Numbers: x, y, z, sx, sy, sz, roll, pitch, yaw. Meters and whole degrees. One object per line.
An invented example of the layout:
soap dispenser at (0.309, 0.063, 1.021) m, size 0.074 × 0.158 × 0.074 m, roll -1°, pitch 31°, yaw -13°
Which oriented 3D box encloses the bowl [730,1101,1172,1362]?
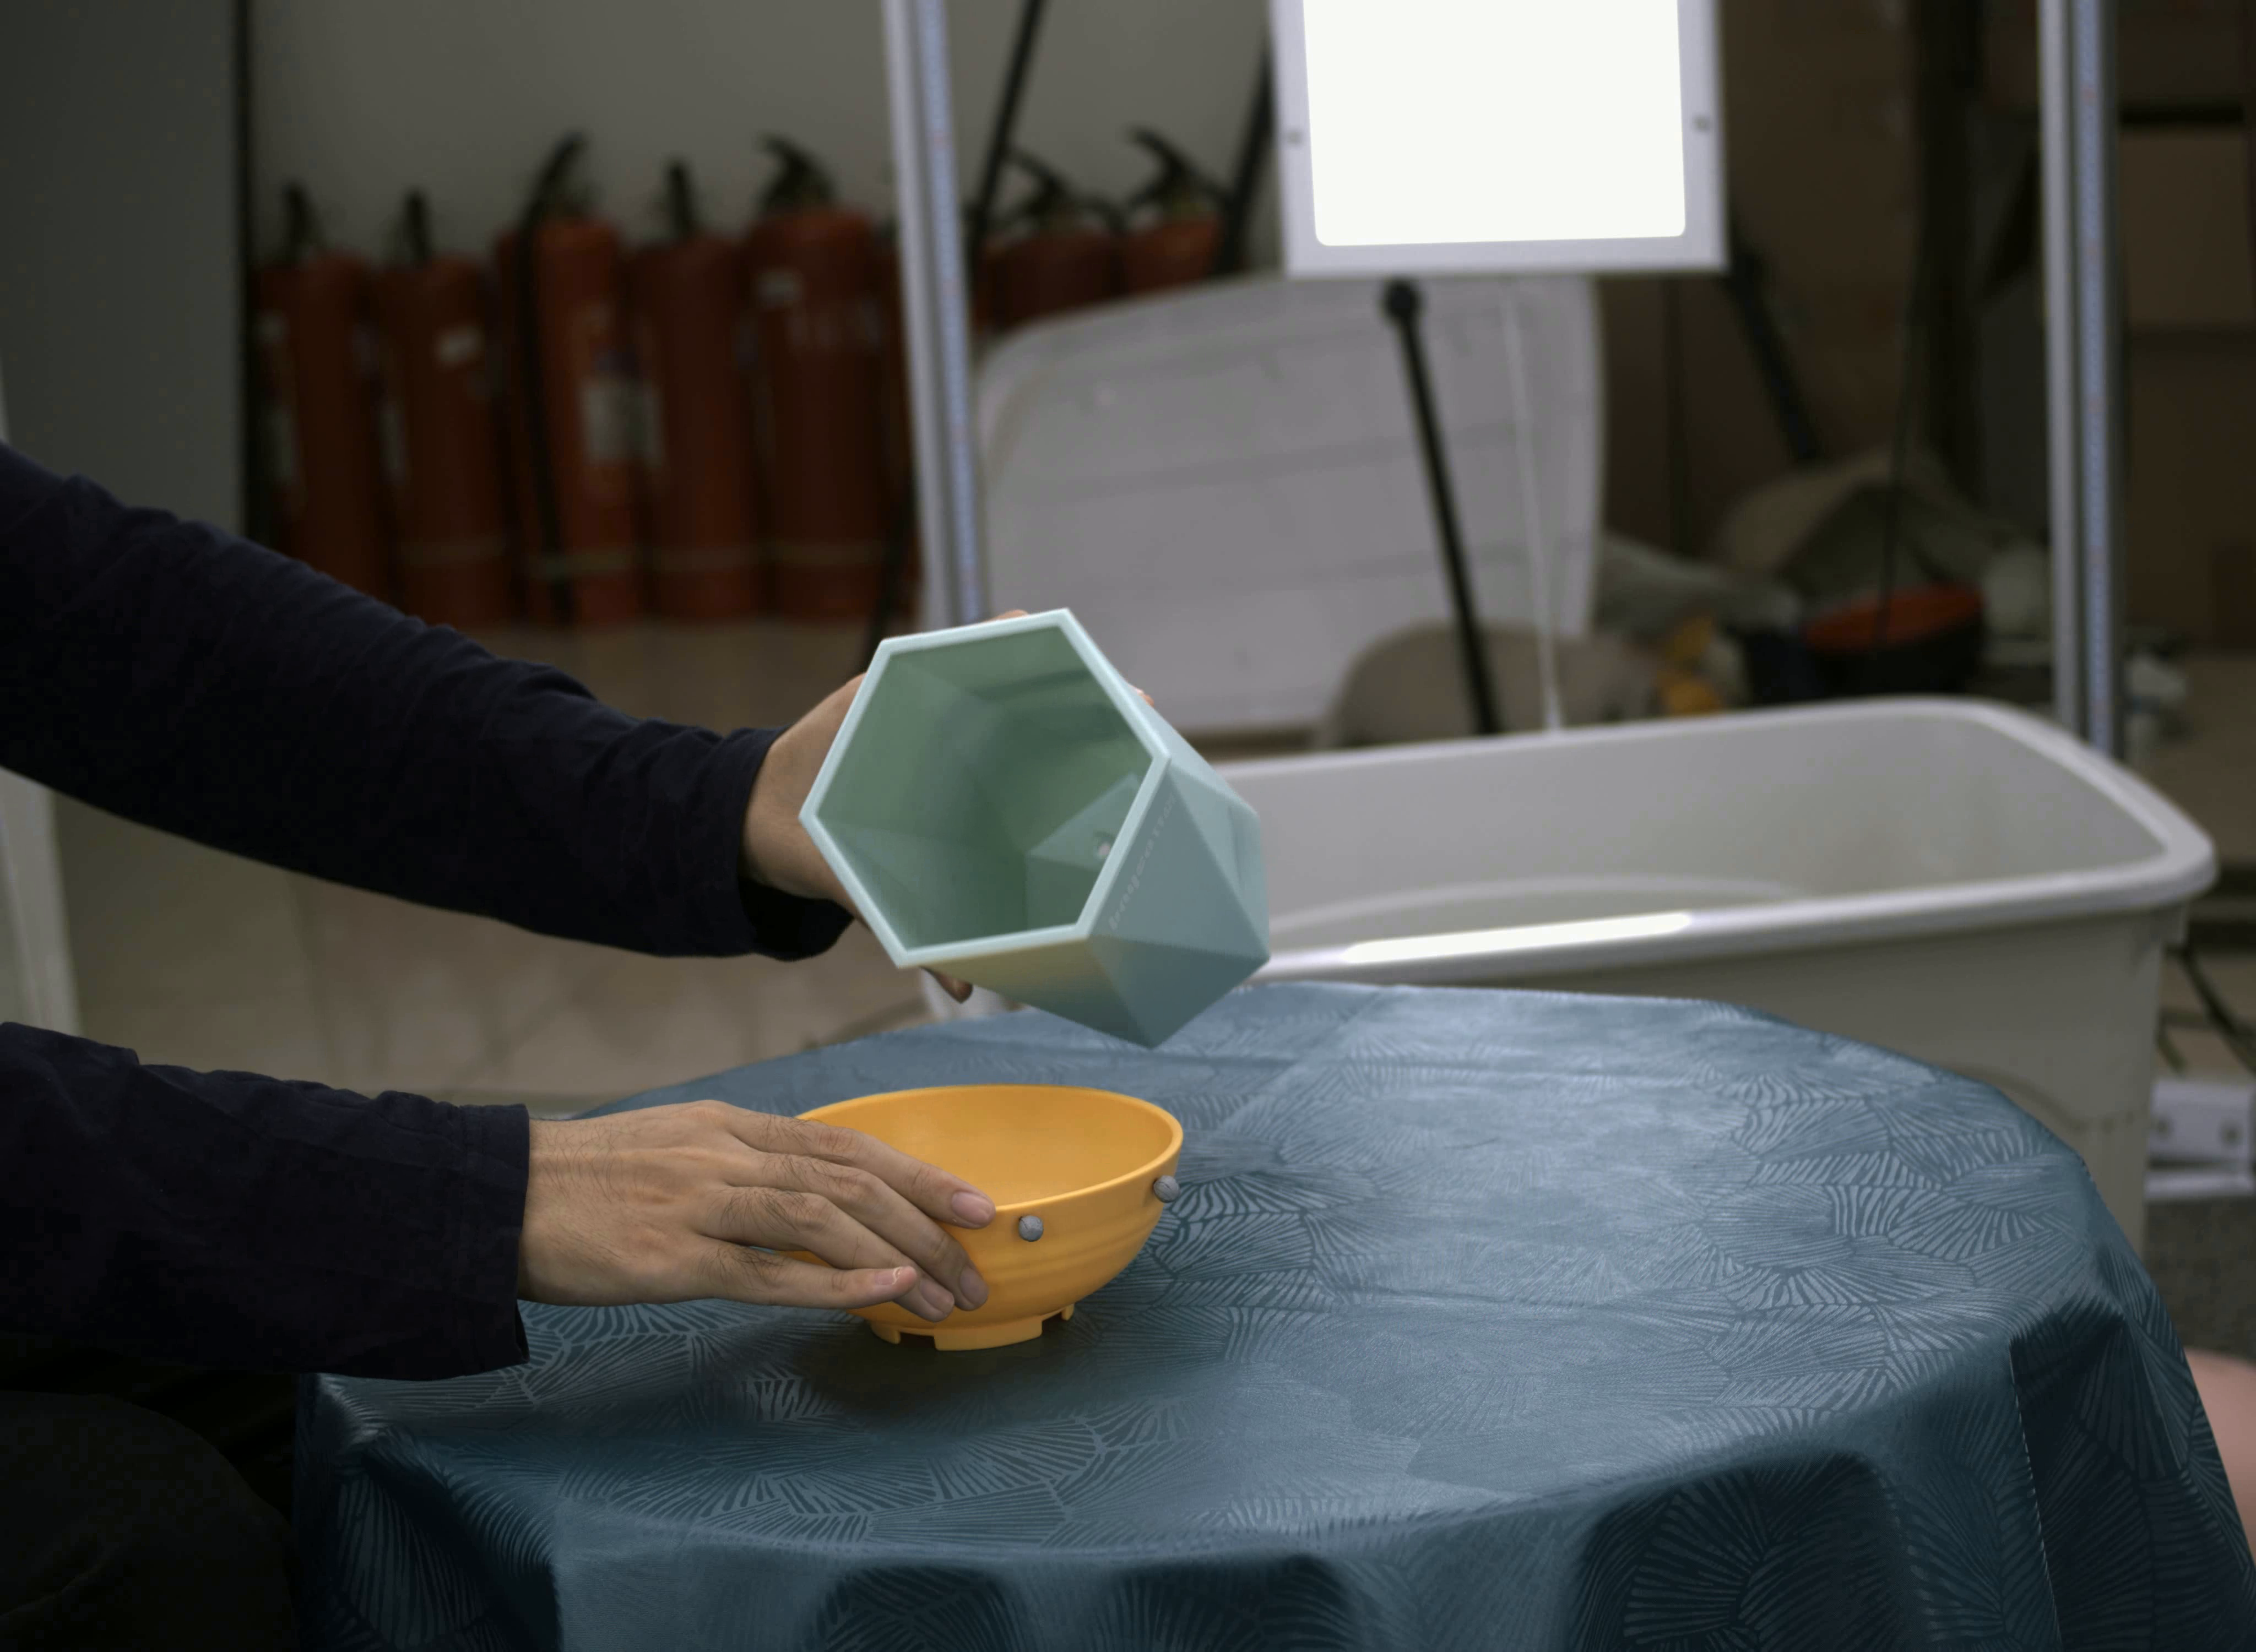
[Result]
bowl at (-0.054, 0.135, 1.776) m, size 0.145 × 0.060 × 0.145 m, roll -7°, pitch 11°, yaw 0°

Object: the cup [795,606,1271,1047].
cup at (-0.021, 0.007, 1.874) m, size 0.117 × 0.131 × 0.160 m, roll 21°, pitch -6°, yaw 27°
